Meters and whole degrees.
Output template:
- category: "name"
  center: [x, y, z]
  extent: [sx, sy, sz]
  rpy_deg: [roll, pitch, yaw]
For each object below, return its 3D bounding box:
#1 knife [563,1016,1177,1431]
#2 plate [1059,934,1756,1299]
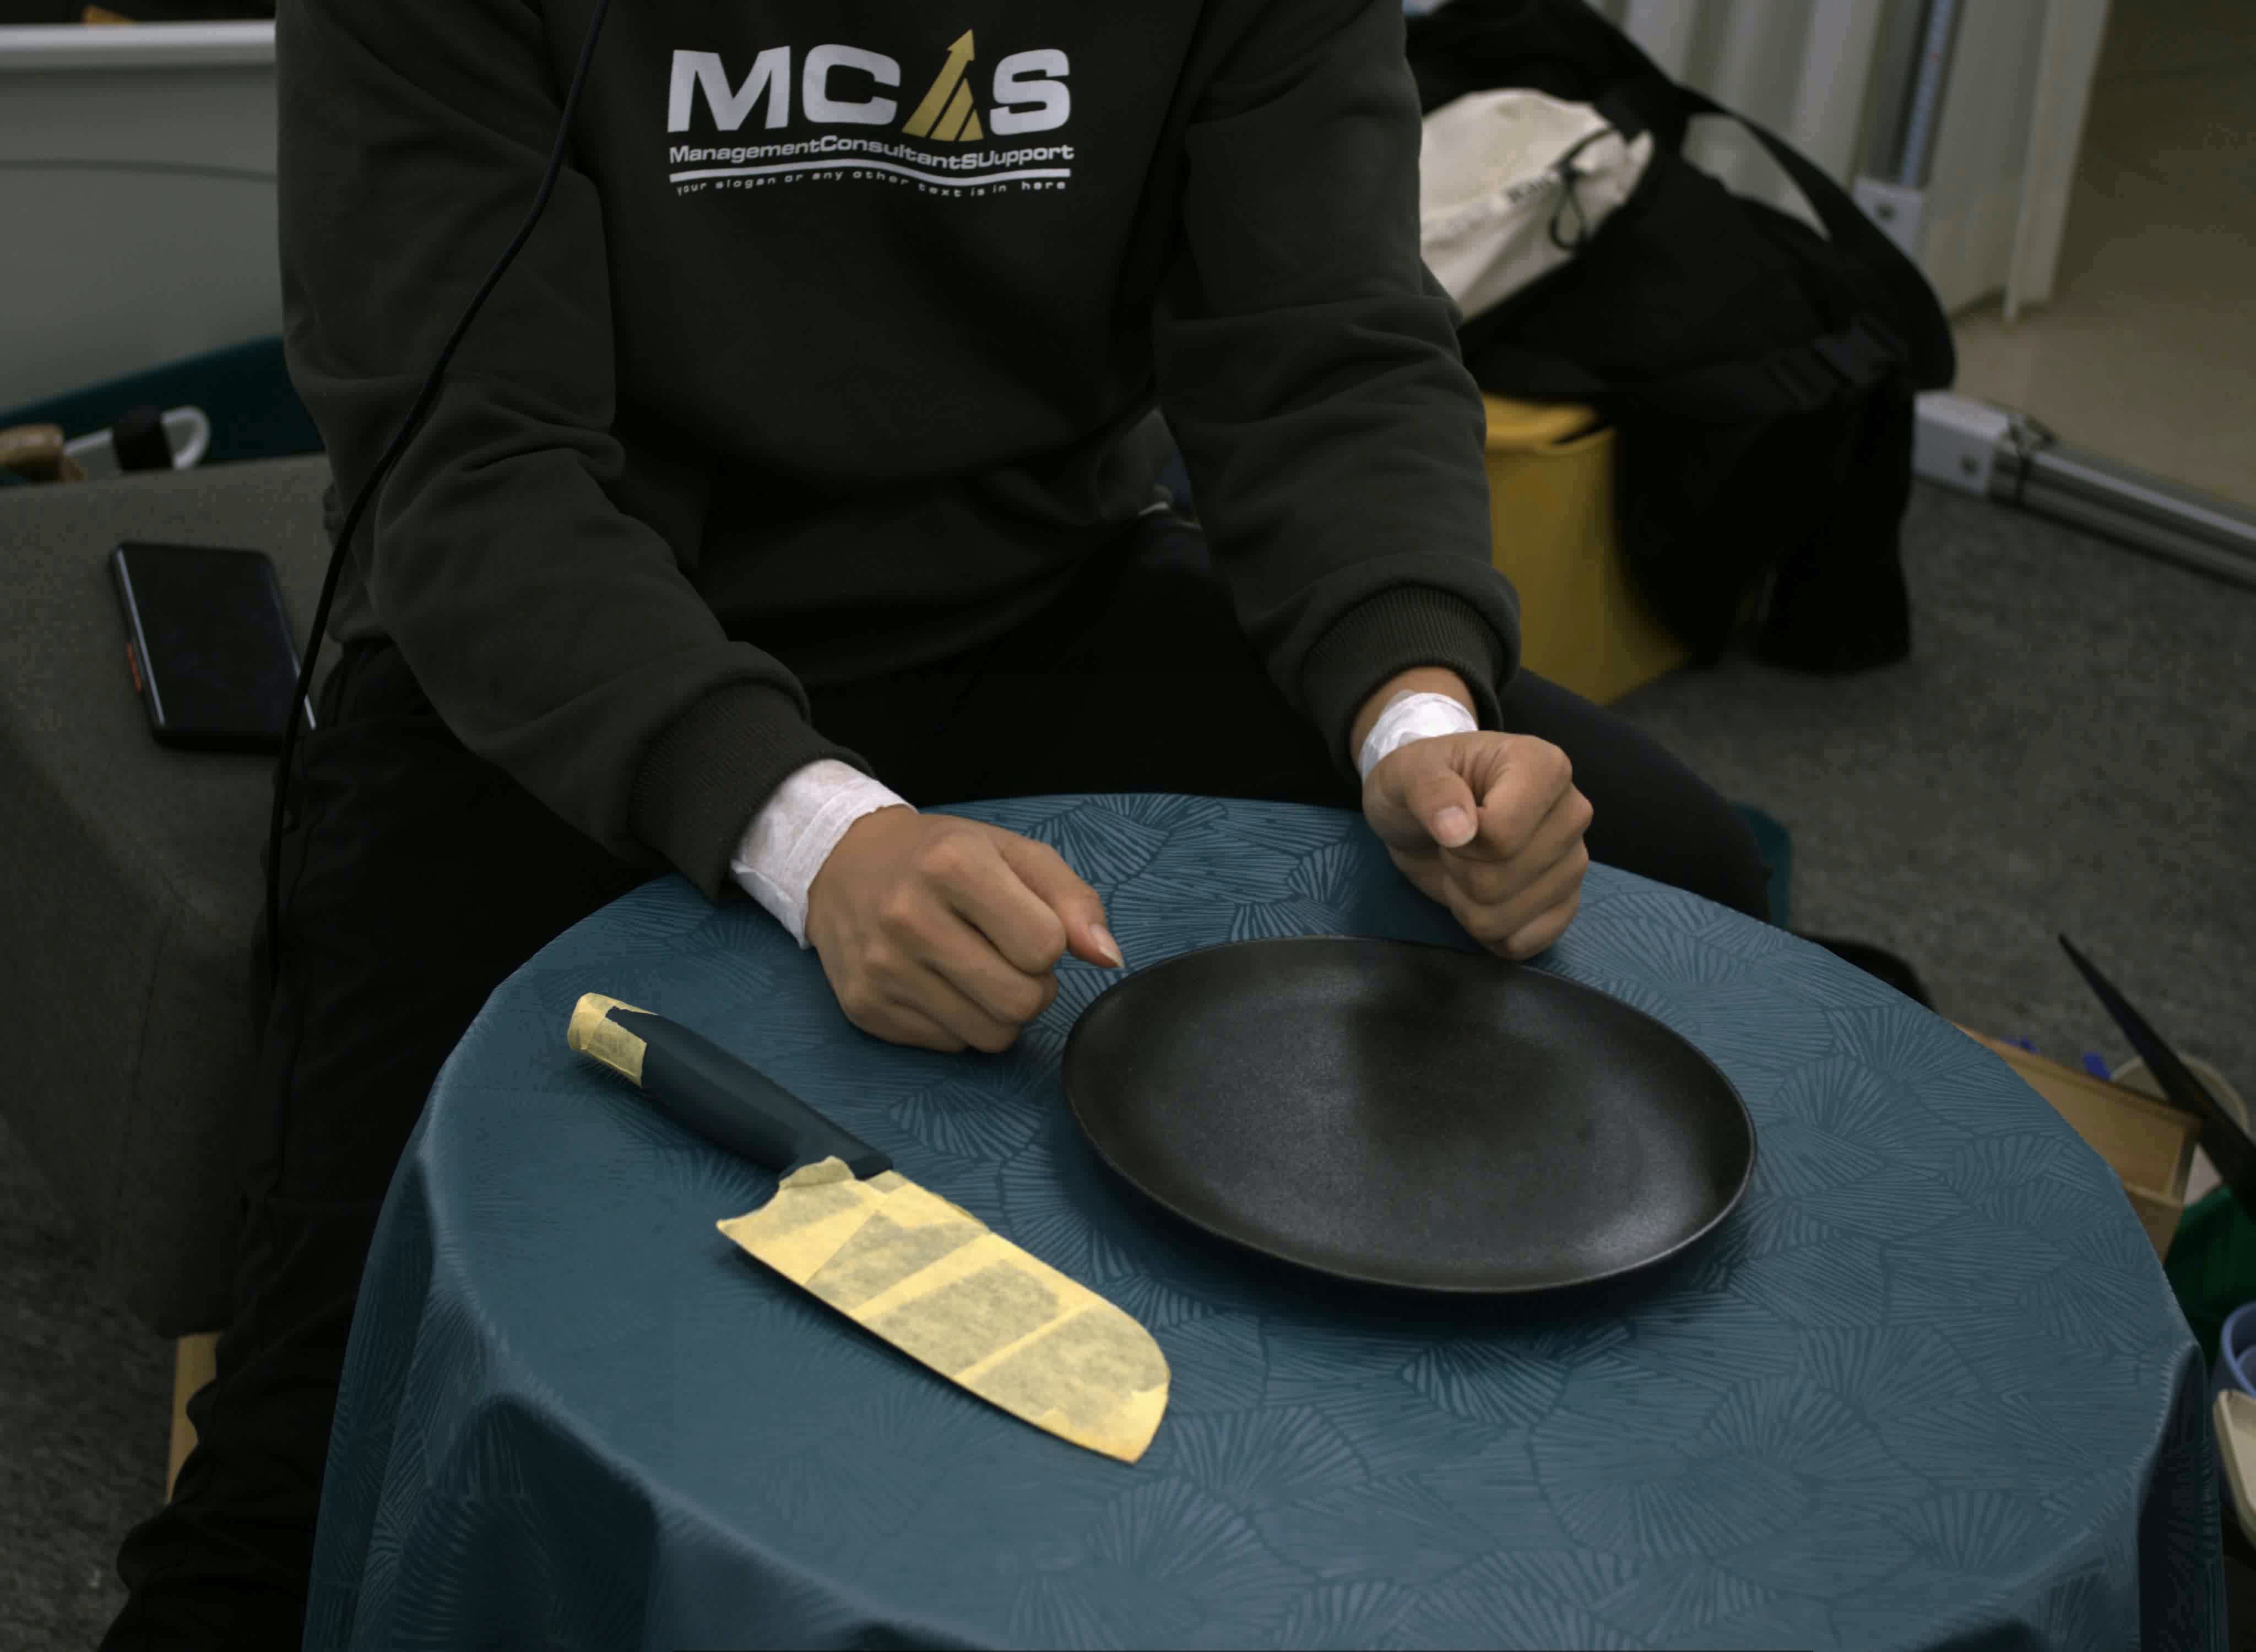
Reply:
- category: "knife"
  center: [-0.094, 0.132, 1.752]
  extent: [0.291, 0.027, 0.080]
  rpy_deg: [29, 32, 35]
- category: "plate"
  center: [0.095, 0.104, 1.840]
  extent: [0.243, 0.023, 0.246]
  rpy_deg: [5, 27, -3]
